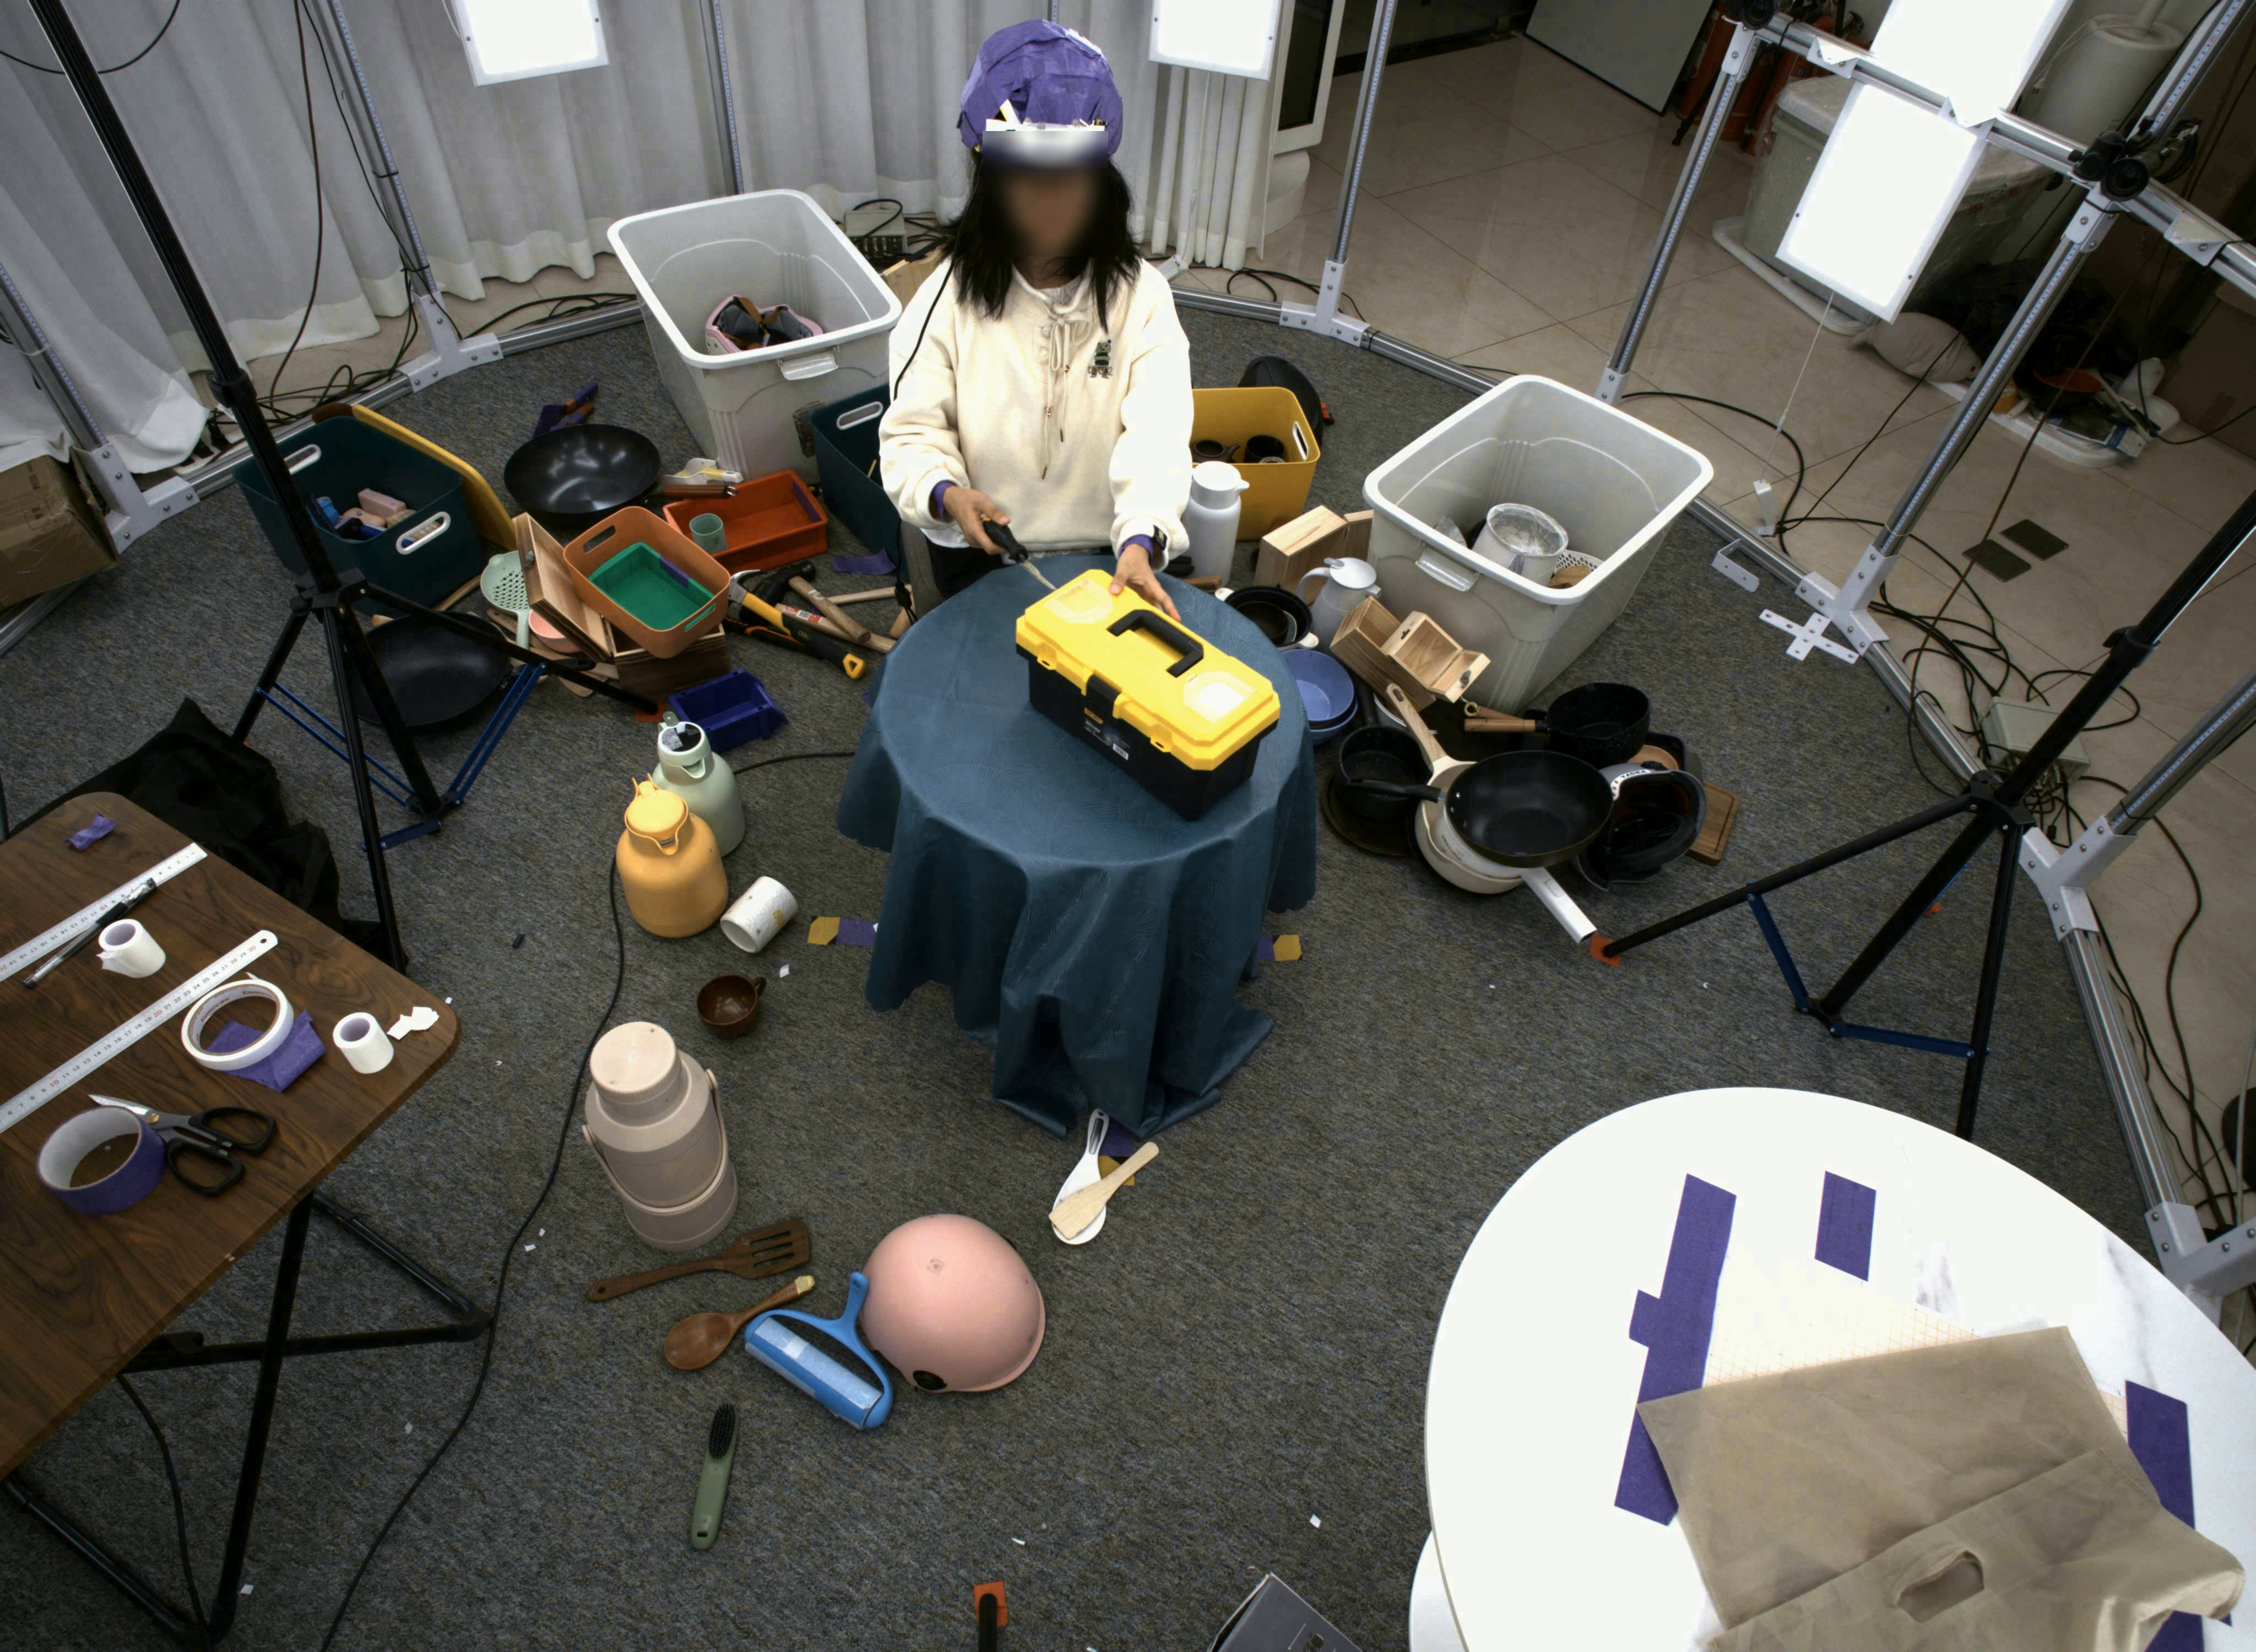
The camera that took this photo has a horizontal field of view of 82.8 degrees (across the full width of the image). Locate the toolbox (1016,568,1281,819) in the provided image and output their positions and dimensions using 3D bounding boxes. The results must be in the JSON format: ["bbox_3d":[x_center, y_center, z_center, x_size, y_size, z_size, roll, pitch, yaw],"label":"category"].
[{"bbox_3d":[0.018,-0.177,1.713,0.356,0.168,0.183,38,57,25],"label":"toolbox"}]

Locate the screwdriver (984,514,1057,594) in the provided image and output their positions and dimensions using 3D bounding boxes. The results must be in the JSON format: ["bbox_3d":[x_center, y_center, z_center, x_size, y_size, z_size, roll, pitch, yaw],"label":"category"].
[{"bbox_3d":[-0.145,-0.378,1.798,0.031,0.031,0.202,-25,52,-24],"label":"screwdriver"}]
